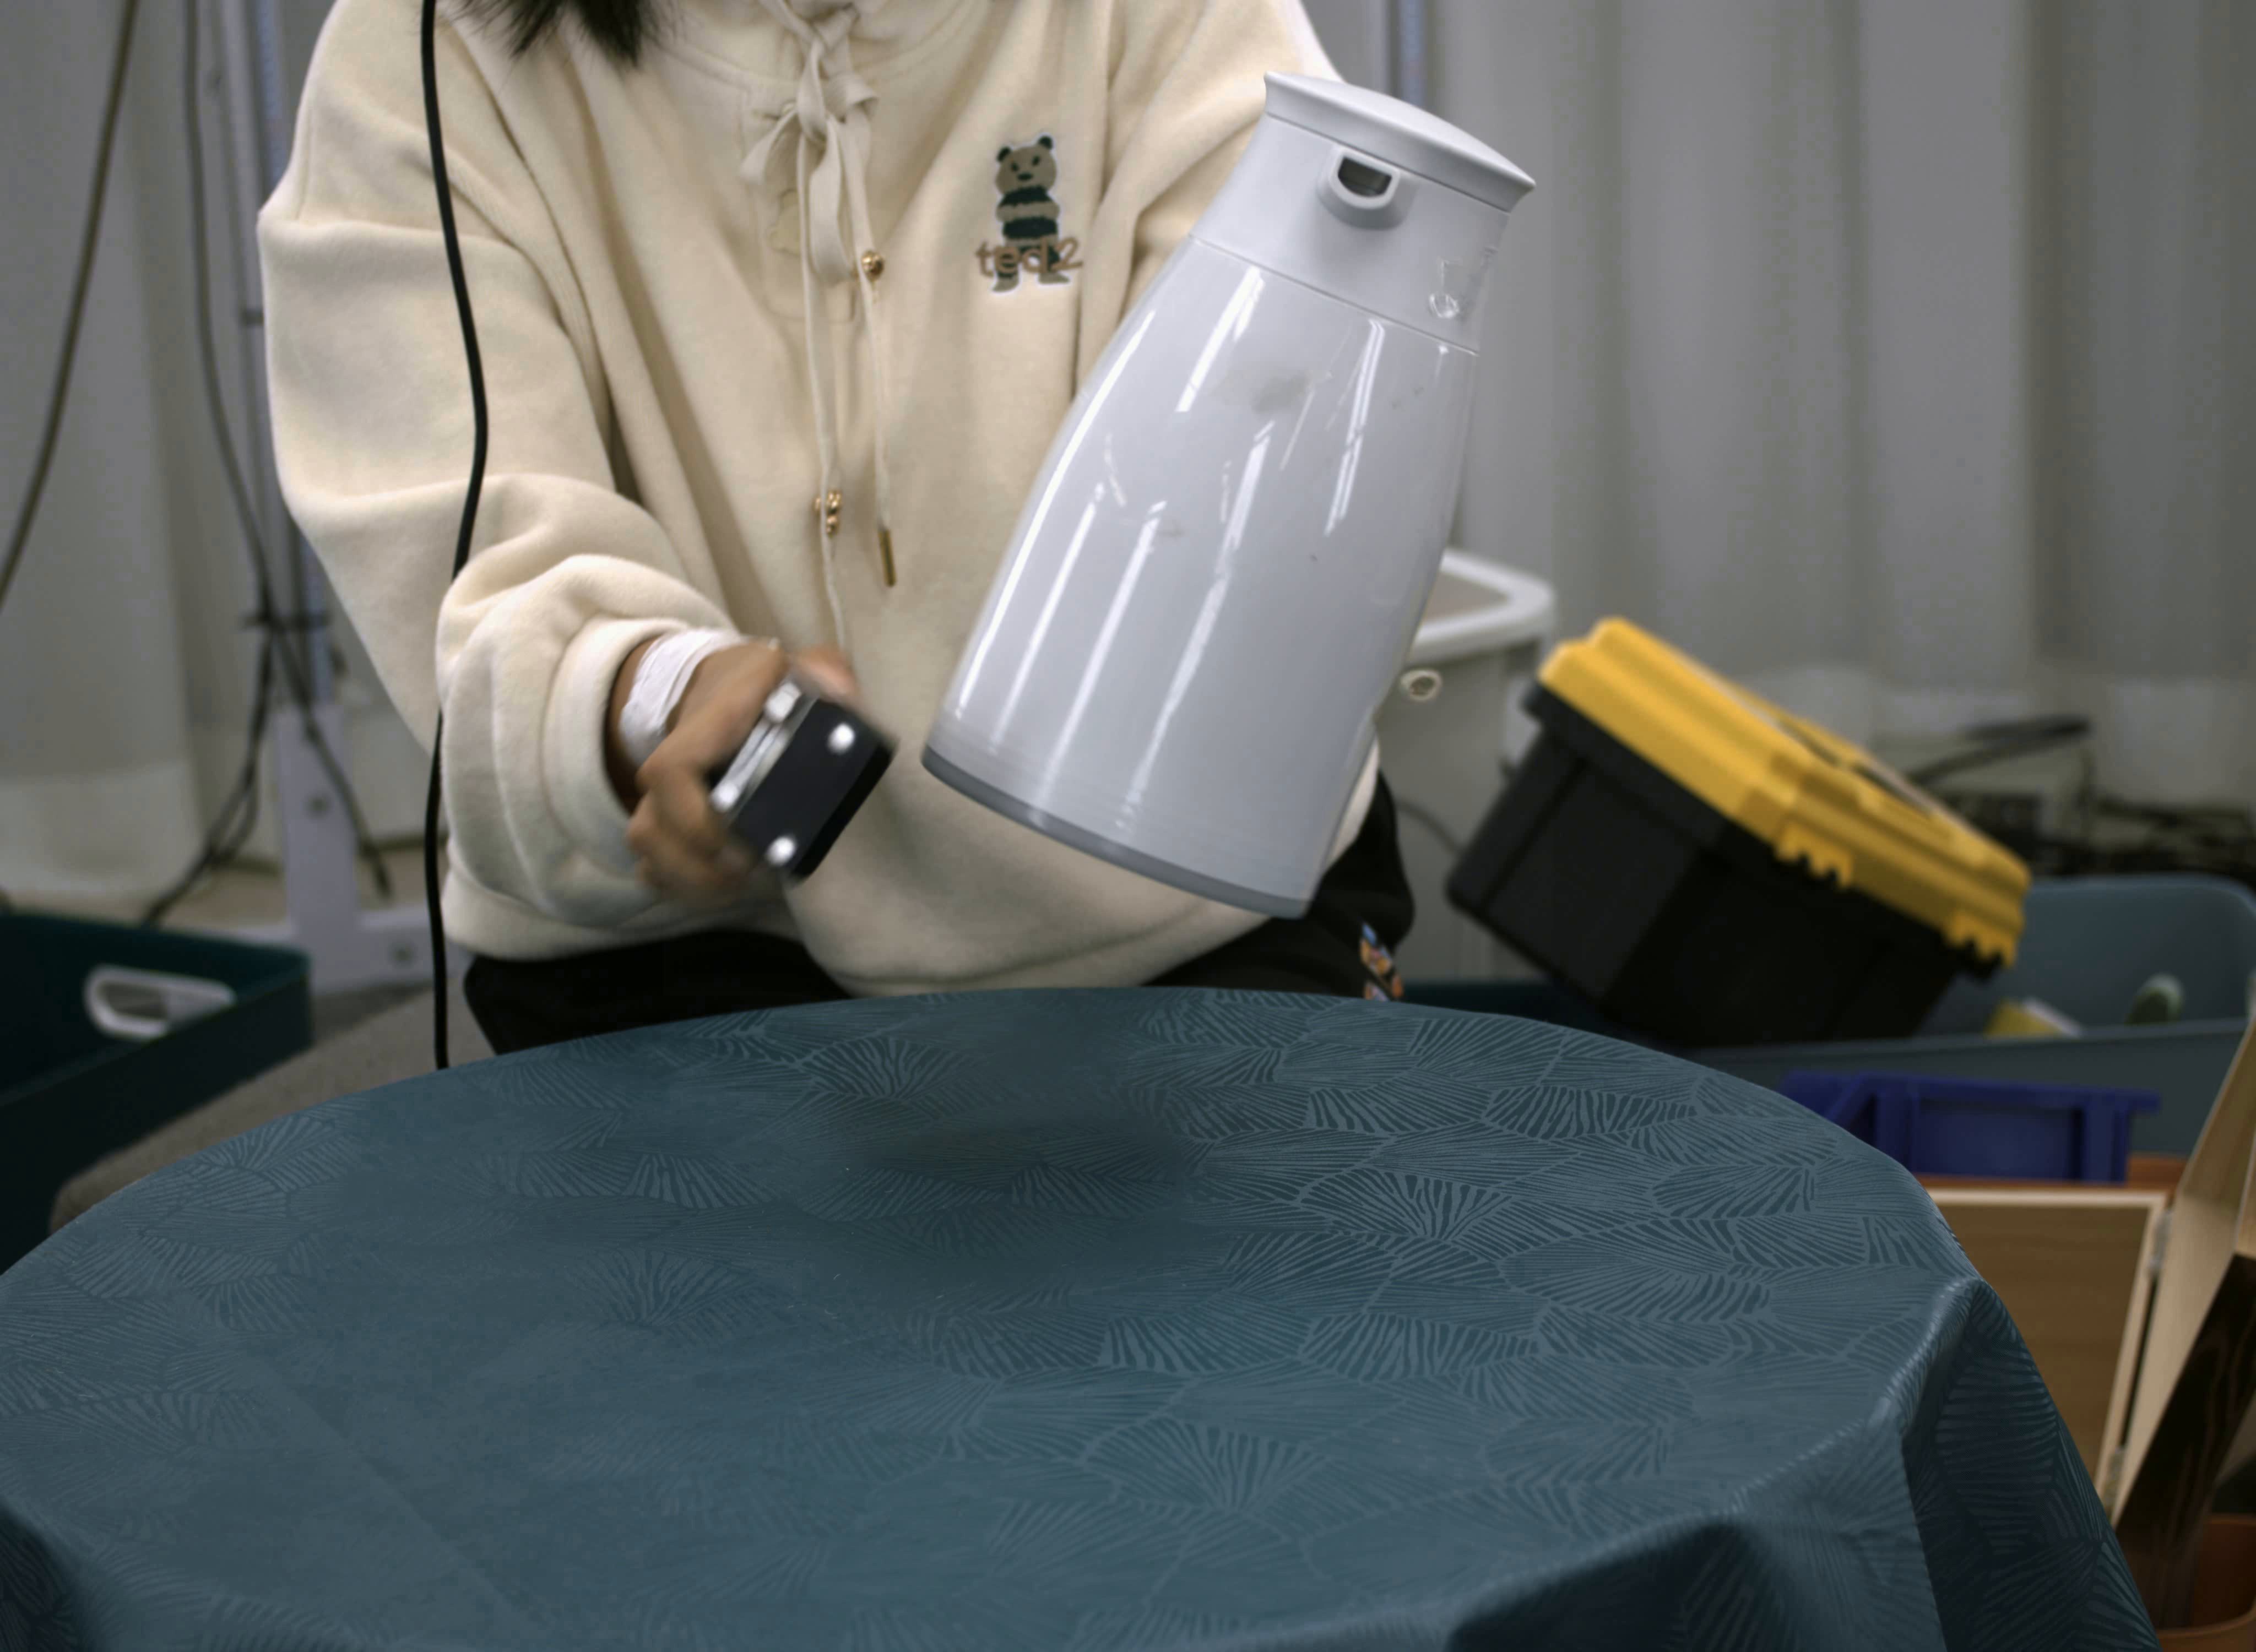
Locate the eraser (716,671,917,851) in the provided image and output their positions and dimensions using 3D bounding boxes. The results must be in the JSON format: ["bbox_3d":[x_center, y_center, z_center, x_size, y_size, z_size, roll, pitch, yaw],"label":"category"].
[{"bbox_3d":[-0.097,-0.021,1.690,0.030,0.053,0.126,36,-5,-8],"label":"eraser"}]

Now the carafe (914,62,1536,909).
[{"bbox_3d":[0.041,-0.115,1.736,0.132,0.249,0.168,23,4,3],"label":"carafe"}]
